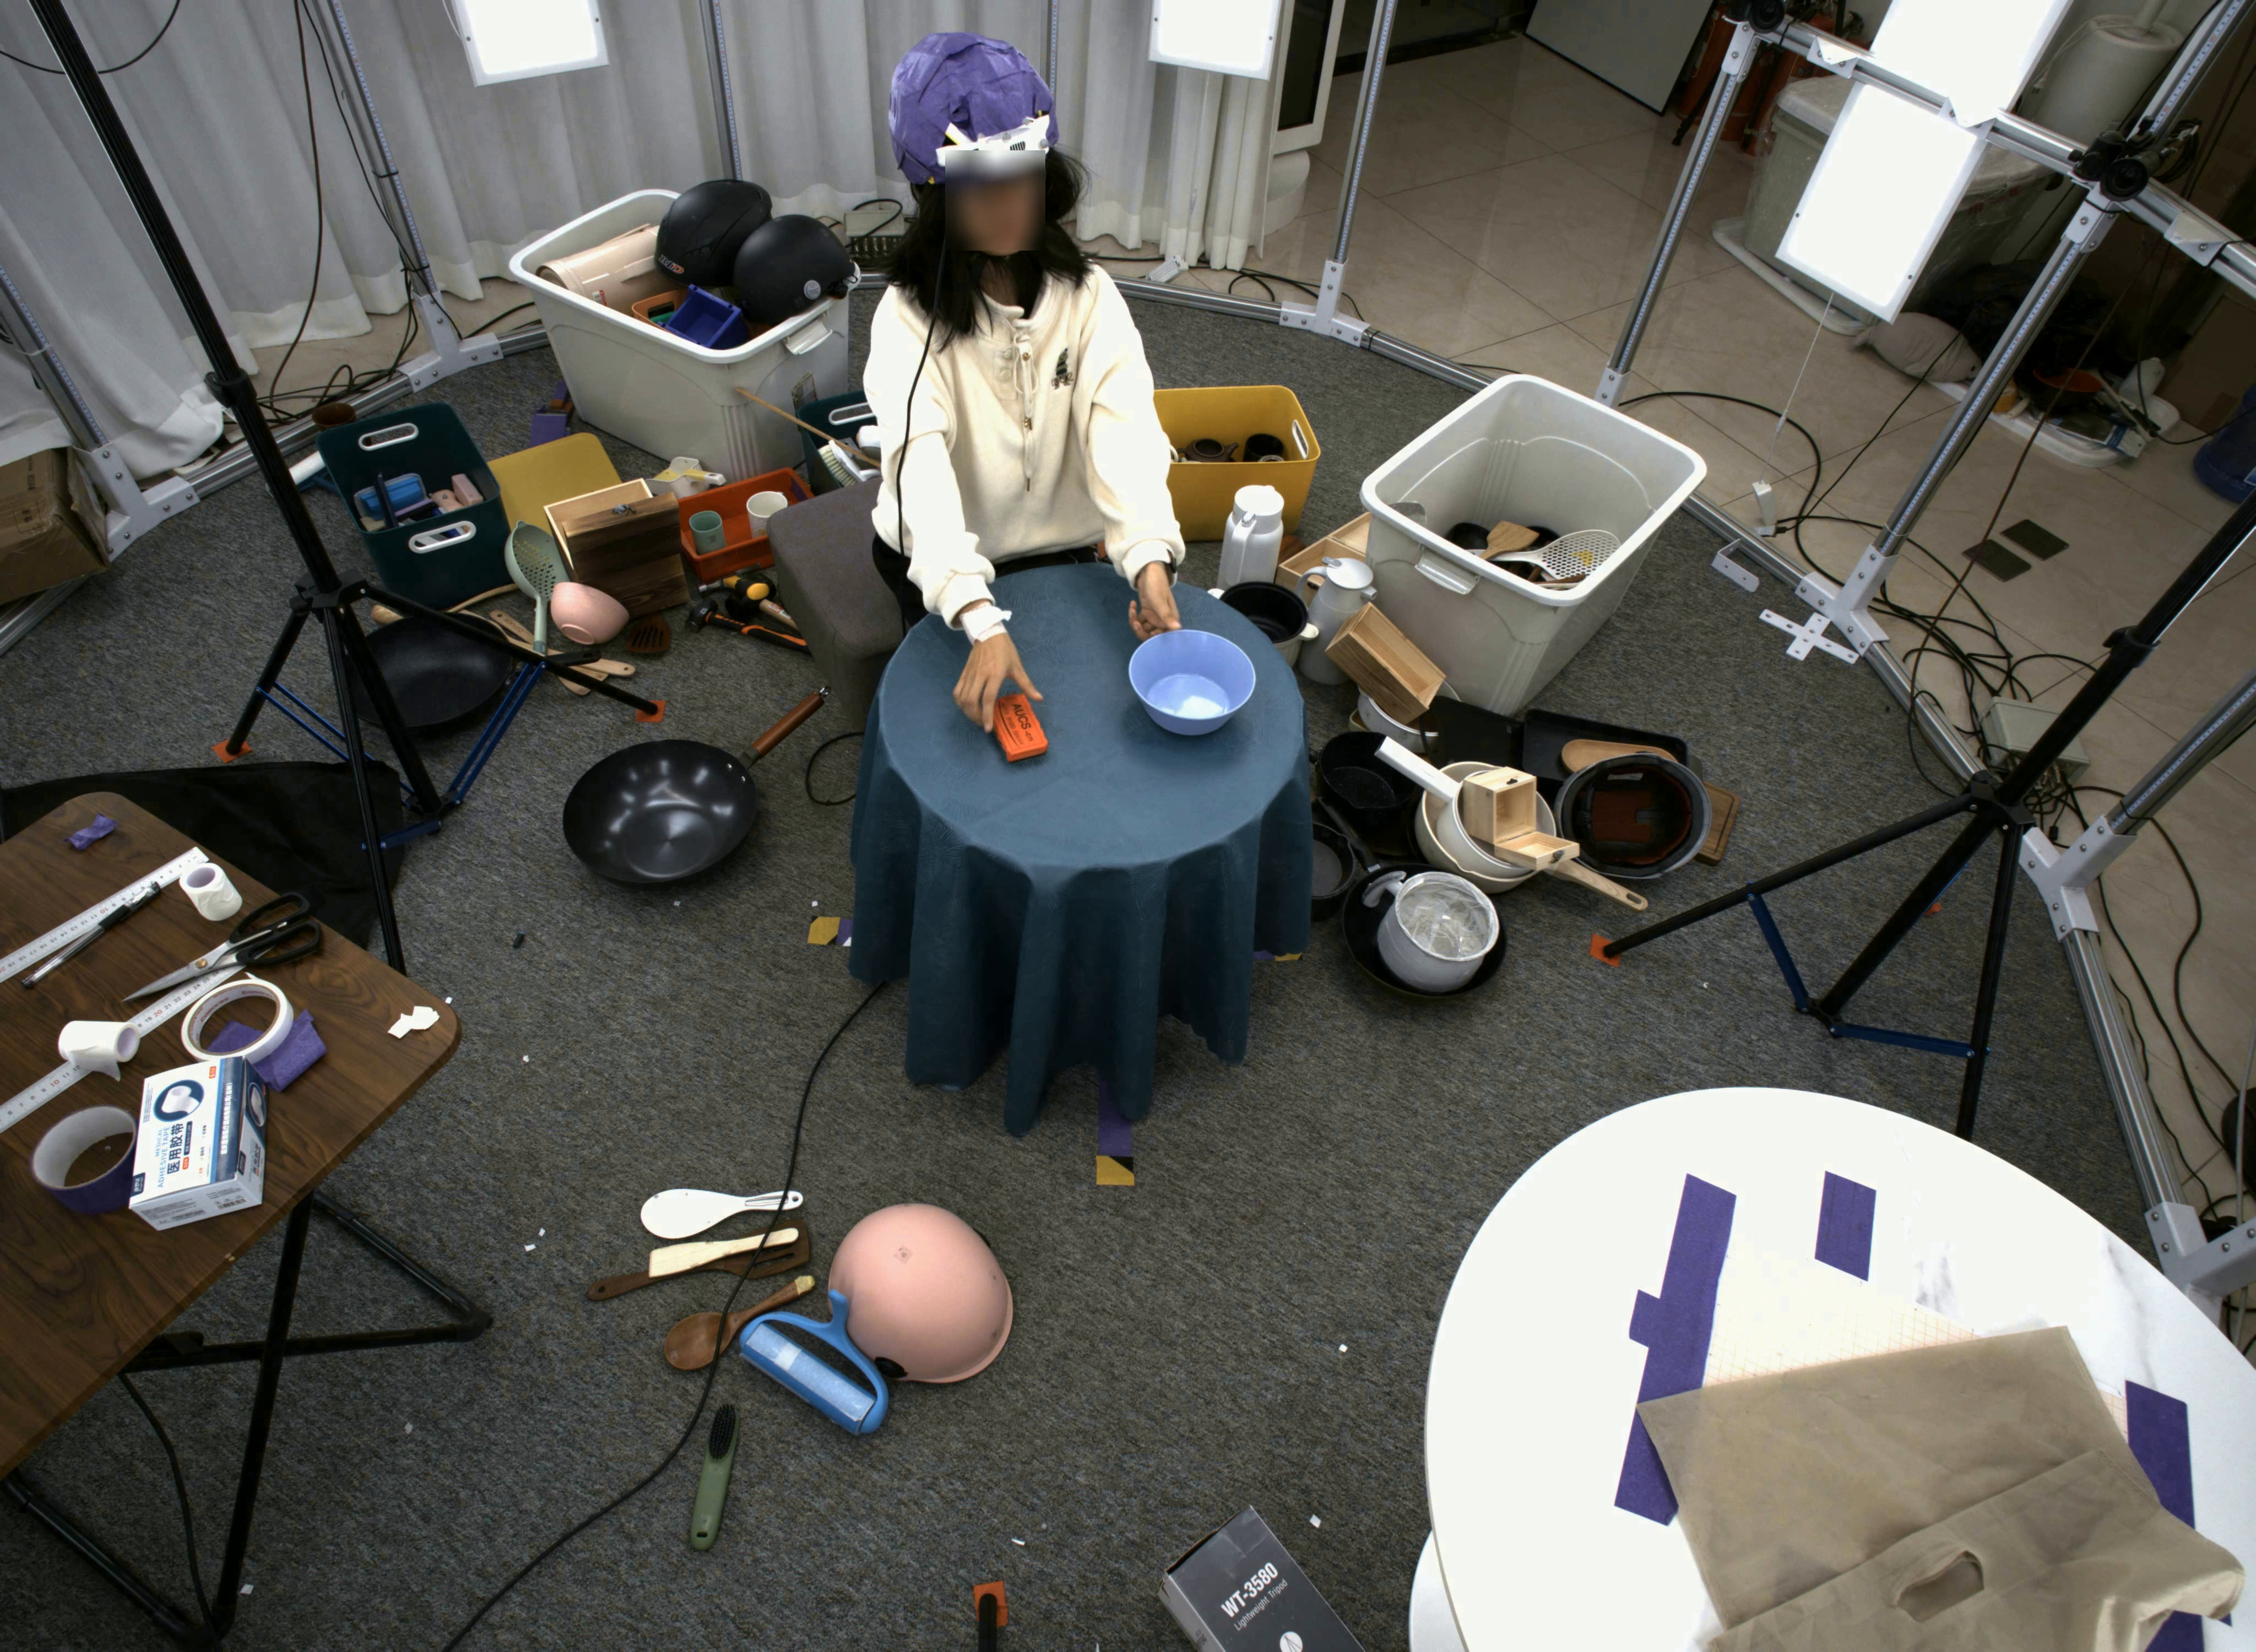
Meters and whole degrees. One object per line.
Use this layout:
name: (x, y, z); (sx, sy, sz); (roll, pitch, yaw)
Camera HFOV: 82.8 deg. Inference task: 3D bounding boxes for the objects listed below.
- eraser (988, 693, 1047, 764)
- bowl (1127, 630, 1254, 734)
eraser: (-0.153, -0.135, 1.762); (0.059, 0.022, 0.110); (-15, 52, -13)
bowl: (0.085, -0.193, 1.797); (0.176, 0.068, 0.180); (2, 49, -2)
